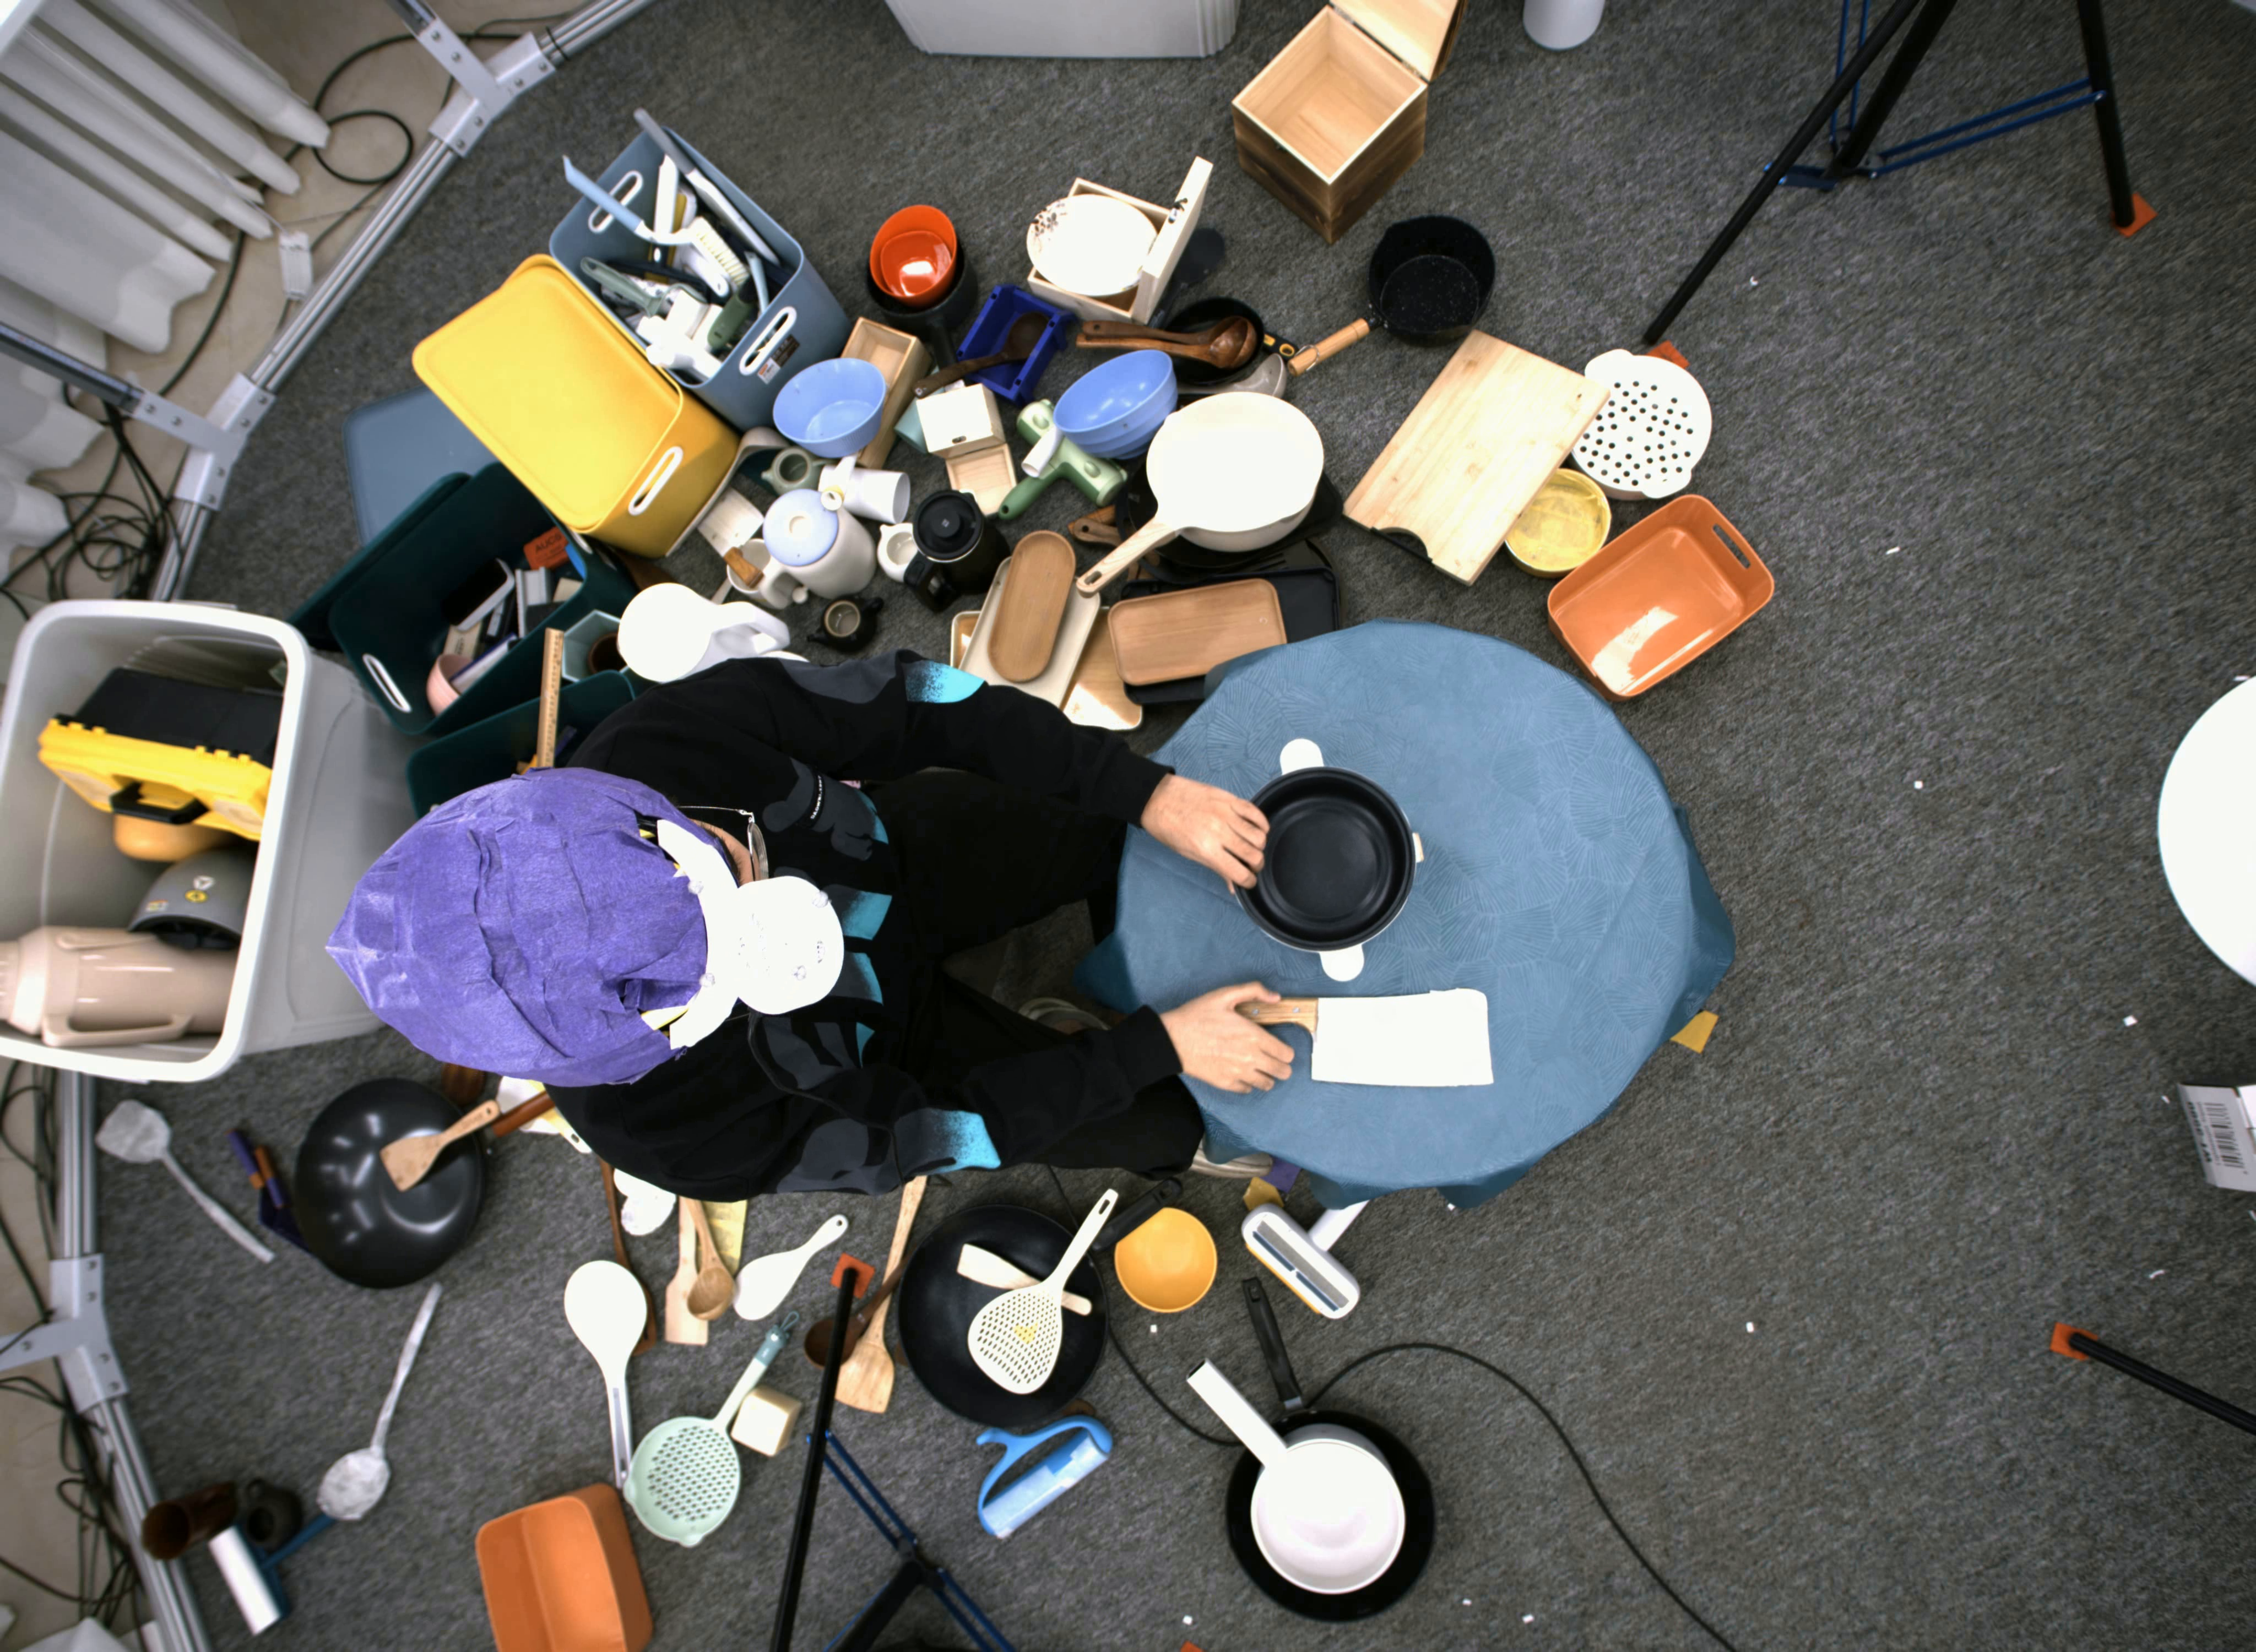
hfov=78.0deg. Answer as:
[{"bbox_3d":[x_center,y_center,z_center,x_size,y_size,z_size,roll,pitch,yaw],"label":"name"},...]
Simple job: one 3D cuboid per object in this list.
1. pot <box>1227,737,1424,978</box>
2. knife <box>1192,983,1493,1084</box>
[{"bbox_3d":[0.203,0.033,1.404,0.192,0.142,0.239,-12,85,12],"label":"pot"},{"bbox_3d":[0.224,0.212,1.451,0.316,0.022,0.113,3,87,8],"label":"knife"}]
